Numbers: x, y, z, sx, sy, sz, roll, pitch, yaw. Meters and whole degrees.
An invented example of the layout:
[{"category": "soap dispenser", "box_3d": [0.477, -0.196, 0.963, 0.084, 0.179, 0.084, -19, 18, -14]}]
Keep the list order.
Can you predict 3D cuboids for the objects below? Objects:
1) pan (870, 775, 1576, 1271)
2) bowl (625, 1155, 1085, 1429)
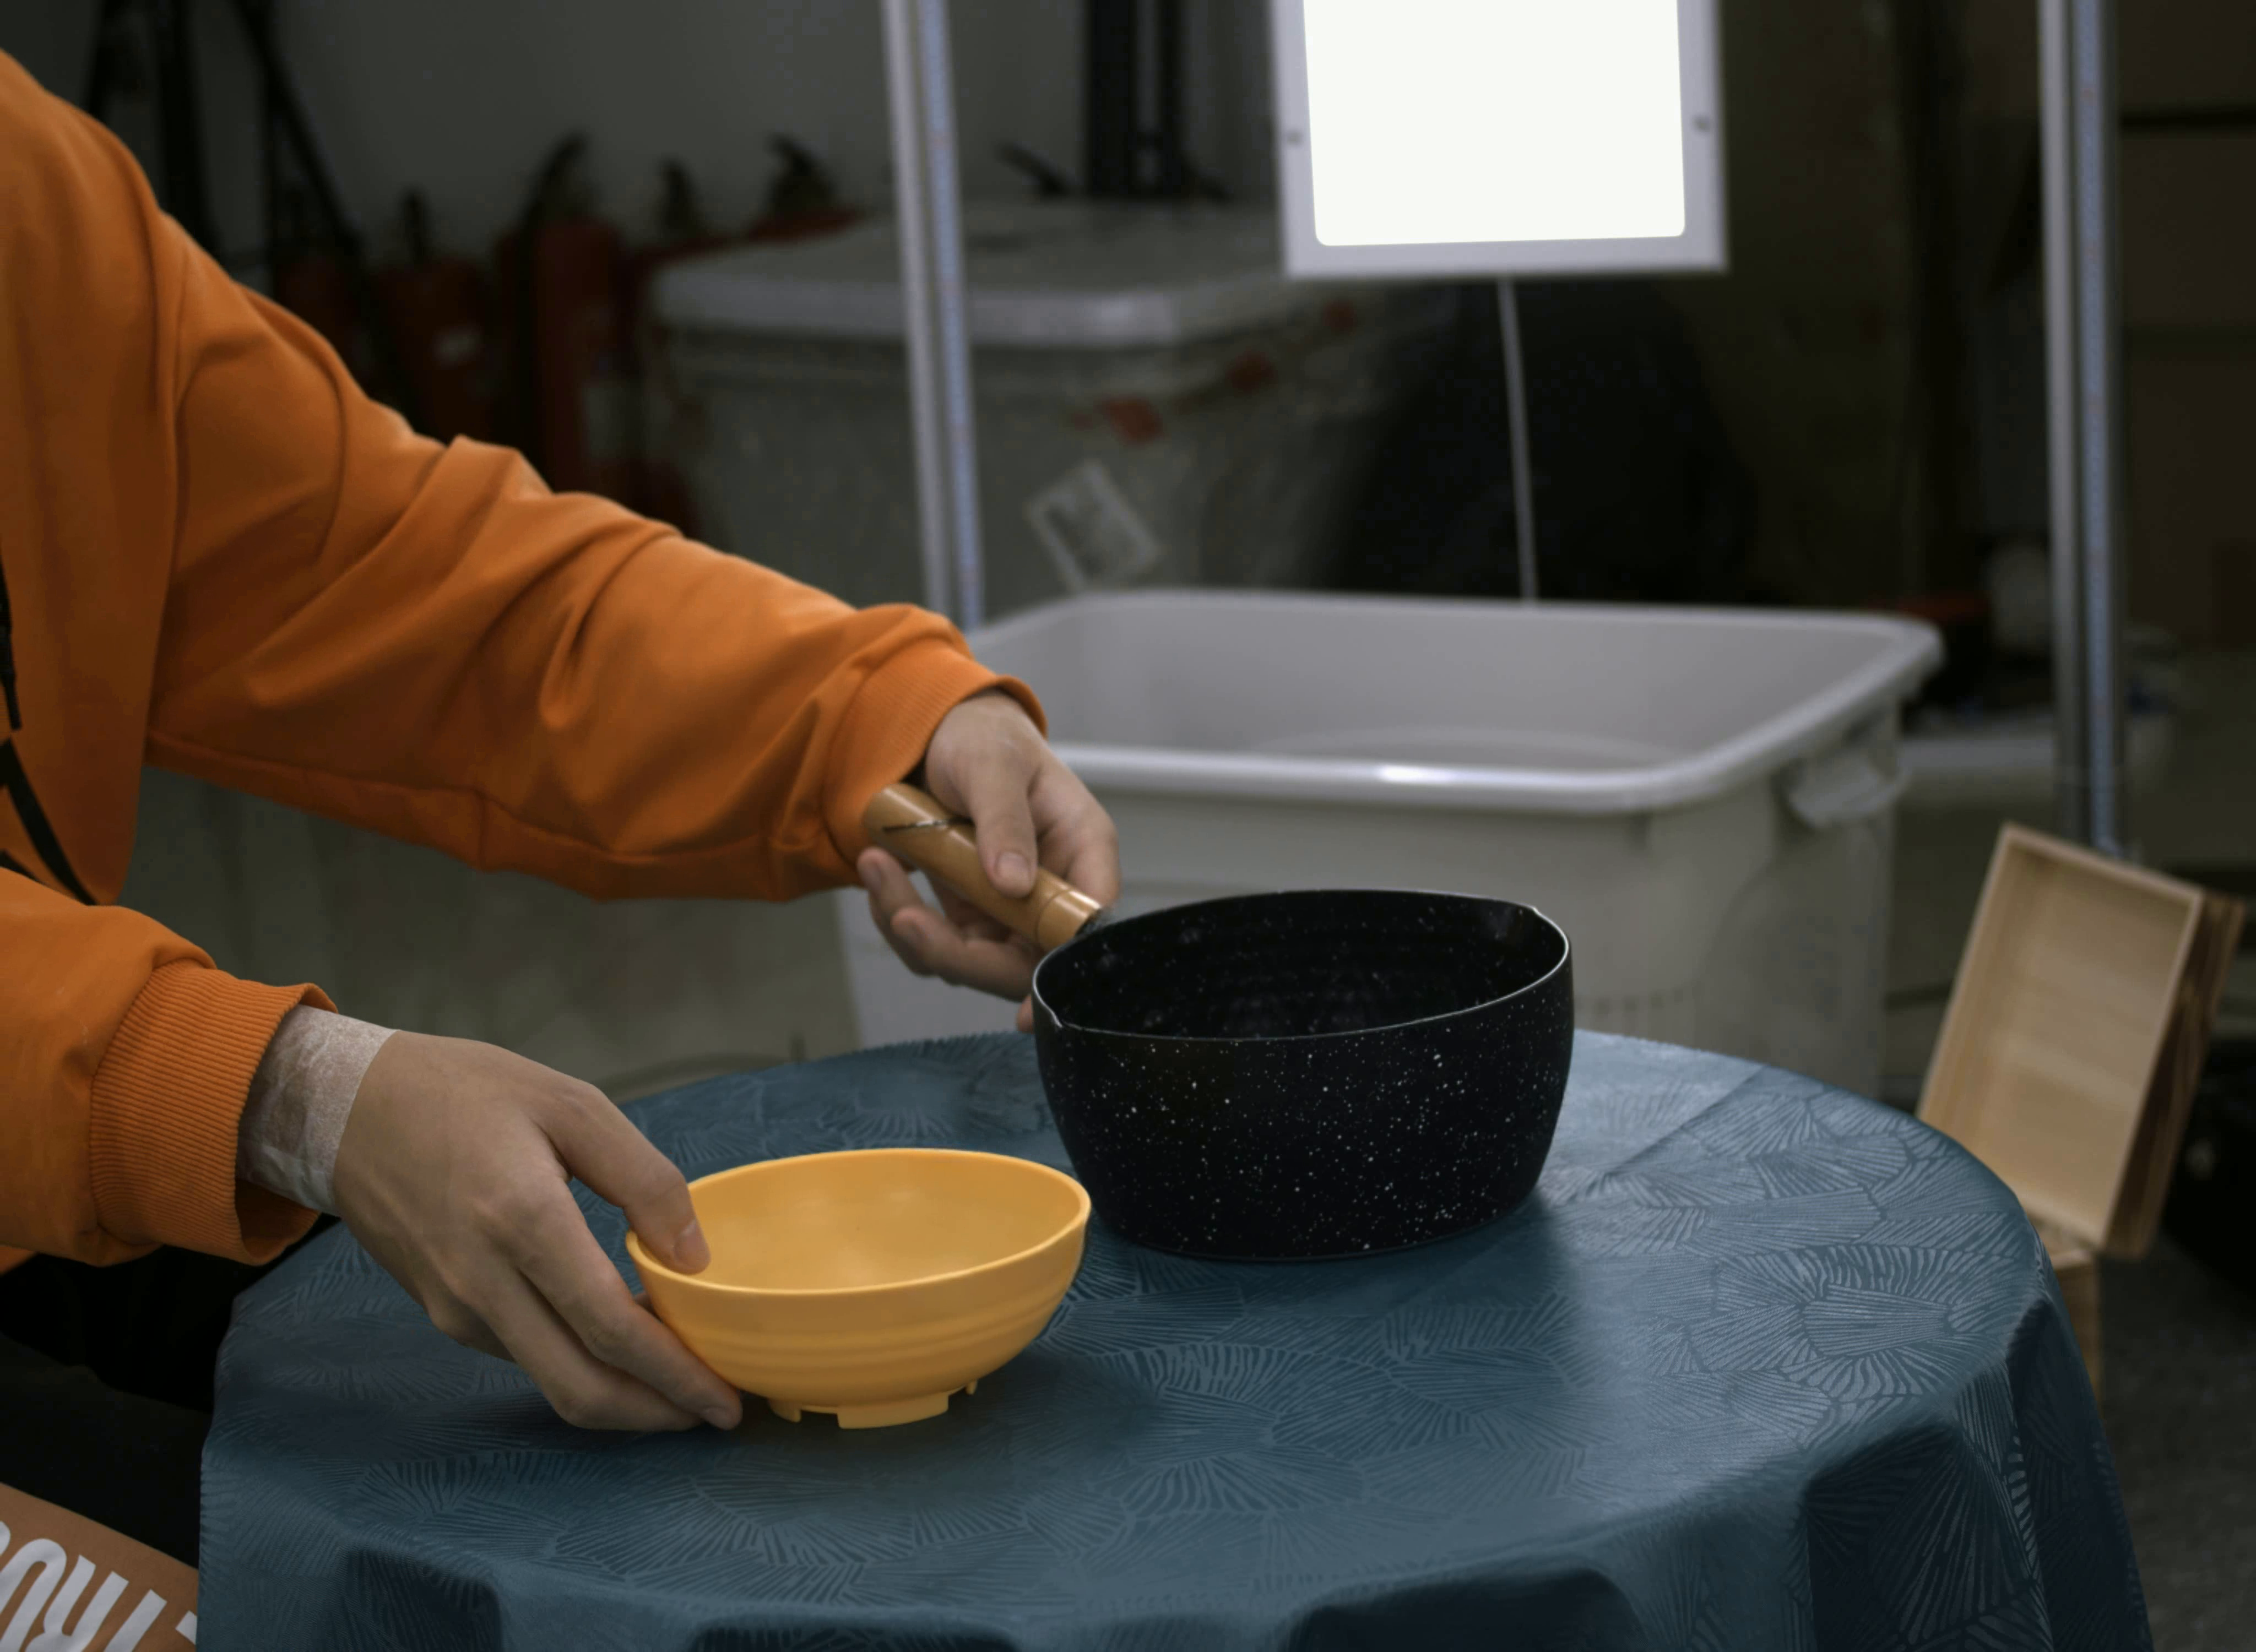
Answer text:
[{"category": "pan", "box_3d": [0.013, 0.062, 1.927, 0.202, 0.108, 0.350, -16, 19, -33]}, {"category": "bowl", "box_3d": [-0.083, 0.149, 1.713, 0.145, 0.060, 0.145, -5, 13, 0]}]
